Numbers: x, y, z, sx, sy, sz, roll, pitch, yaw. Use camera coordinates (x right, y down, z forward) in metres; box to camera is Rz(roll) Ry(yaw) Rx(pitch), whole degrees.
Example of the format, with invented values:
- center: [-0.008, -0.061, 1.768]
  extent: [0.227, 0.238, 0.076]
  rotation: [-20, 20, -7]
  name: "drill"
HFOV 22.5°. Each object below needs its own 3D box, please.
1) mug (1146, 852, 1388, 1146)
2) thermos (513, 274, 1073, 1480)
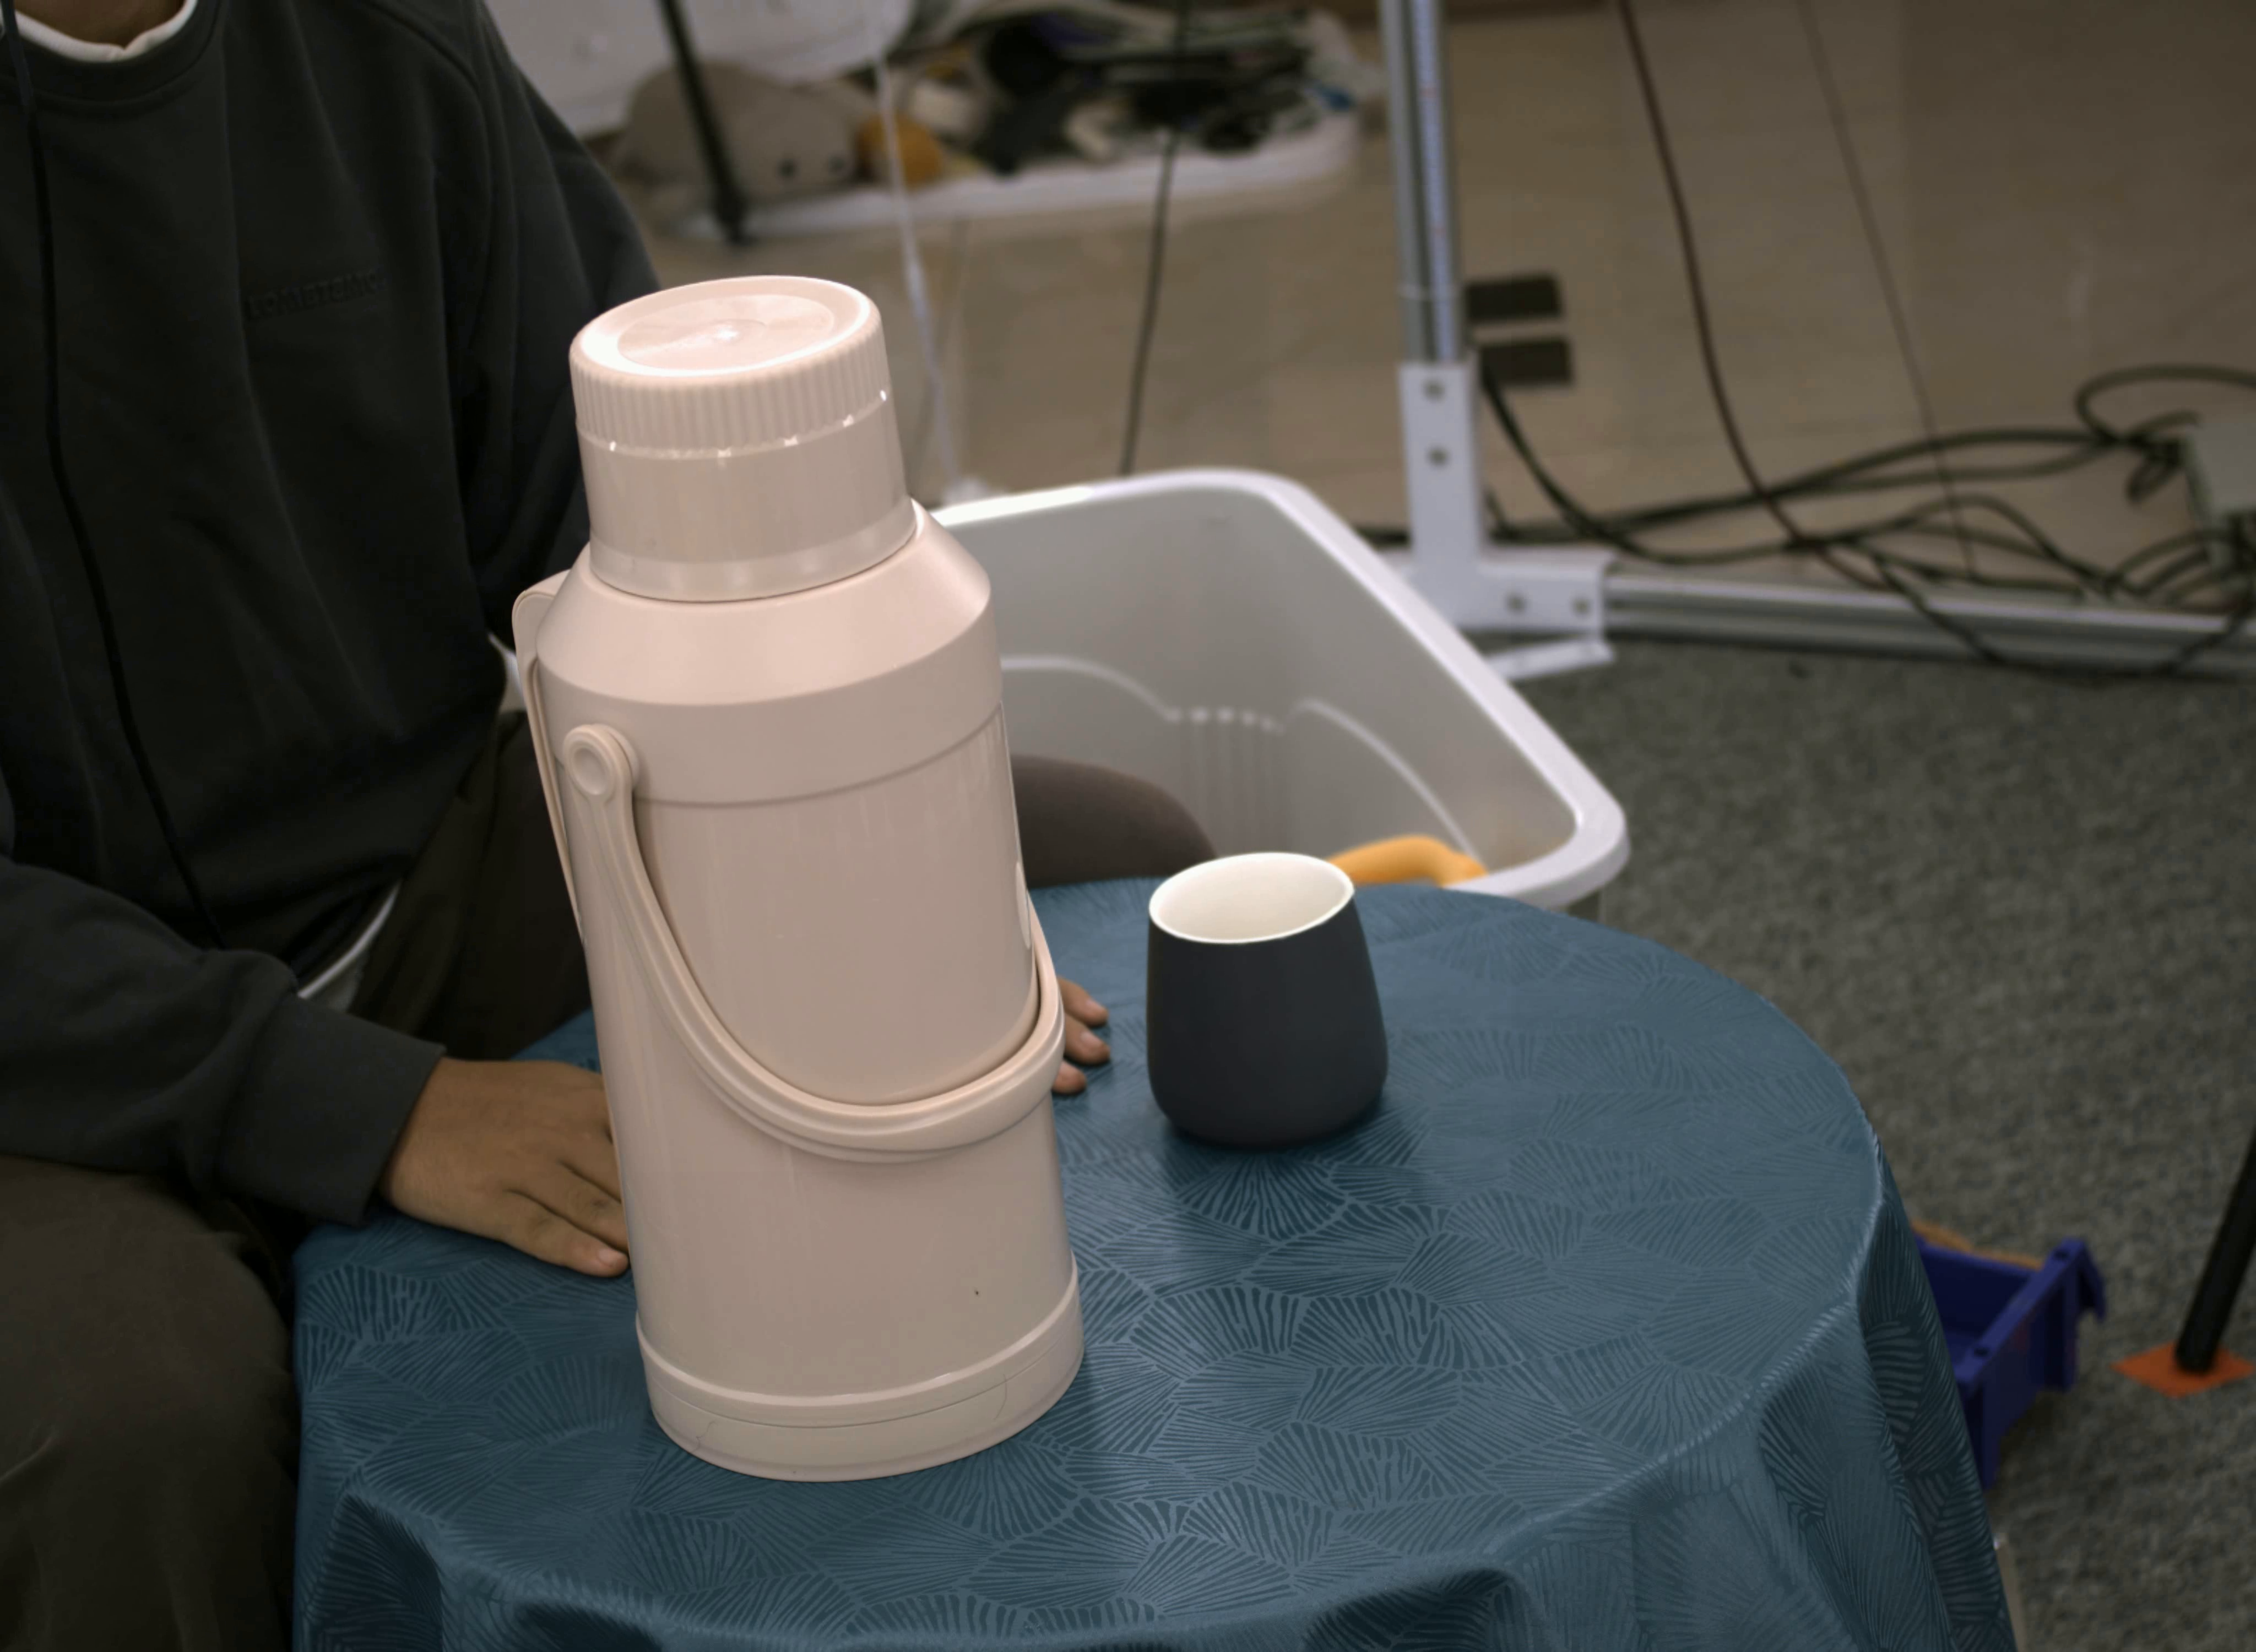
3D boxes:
- center: [0.058, 0.061, 2.194]
  extent: [0.093, 0.091, 0.122]
  rotation: [7, 28, 27]
  name: "mug"
- center: [-0.125, 0.013, 1.969]
  extent: [0.205, 0.413, 0.173]
  rotation: [16, 33, 37]
  name: "thermos"
